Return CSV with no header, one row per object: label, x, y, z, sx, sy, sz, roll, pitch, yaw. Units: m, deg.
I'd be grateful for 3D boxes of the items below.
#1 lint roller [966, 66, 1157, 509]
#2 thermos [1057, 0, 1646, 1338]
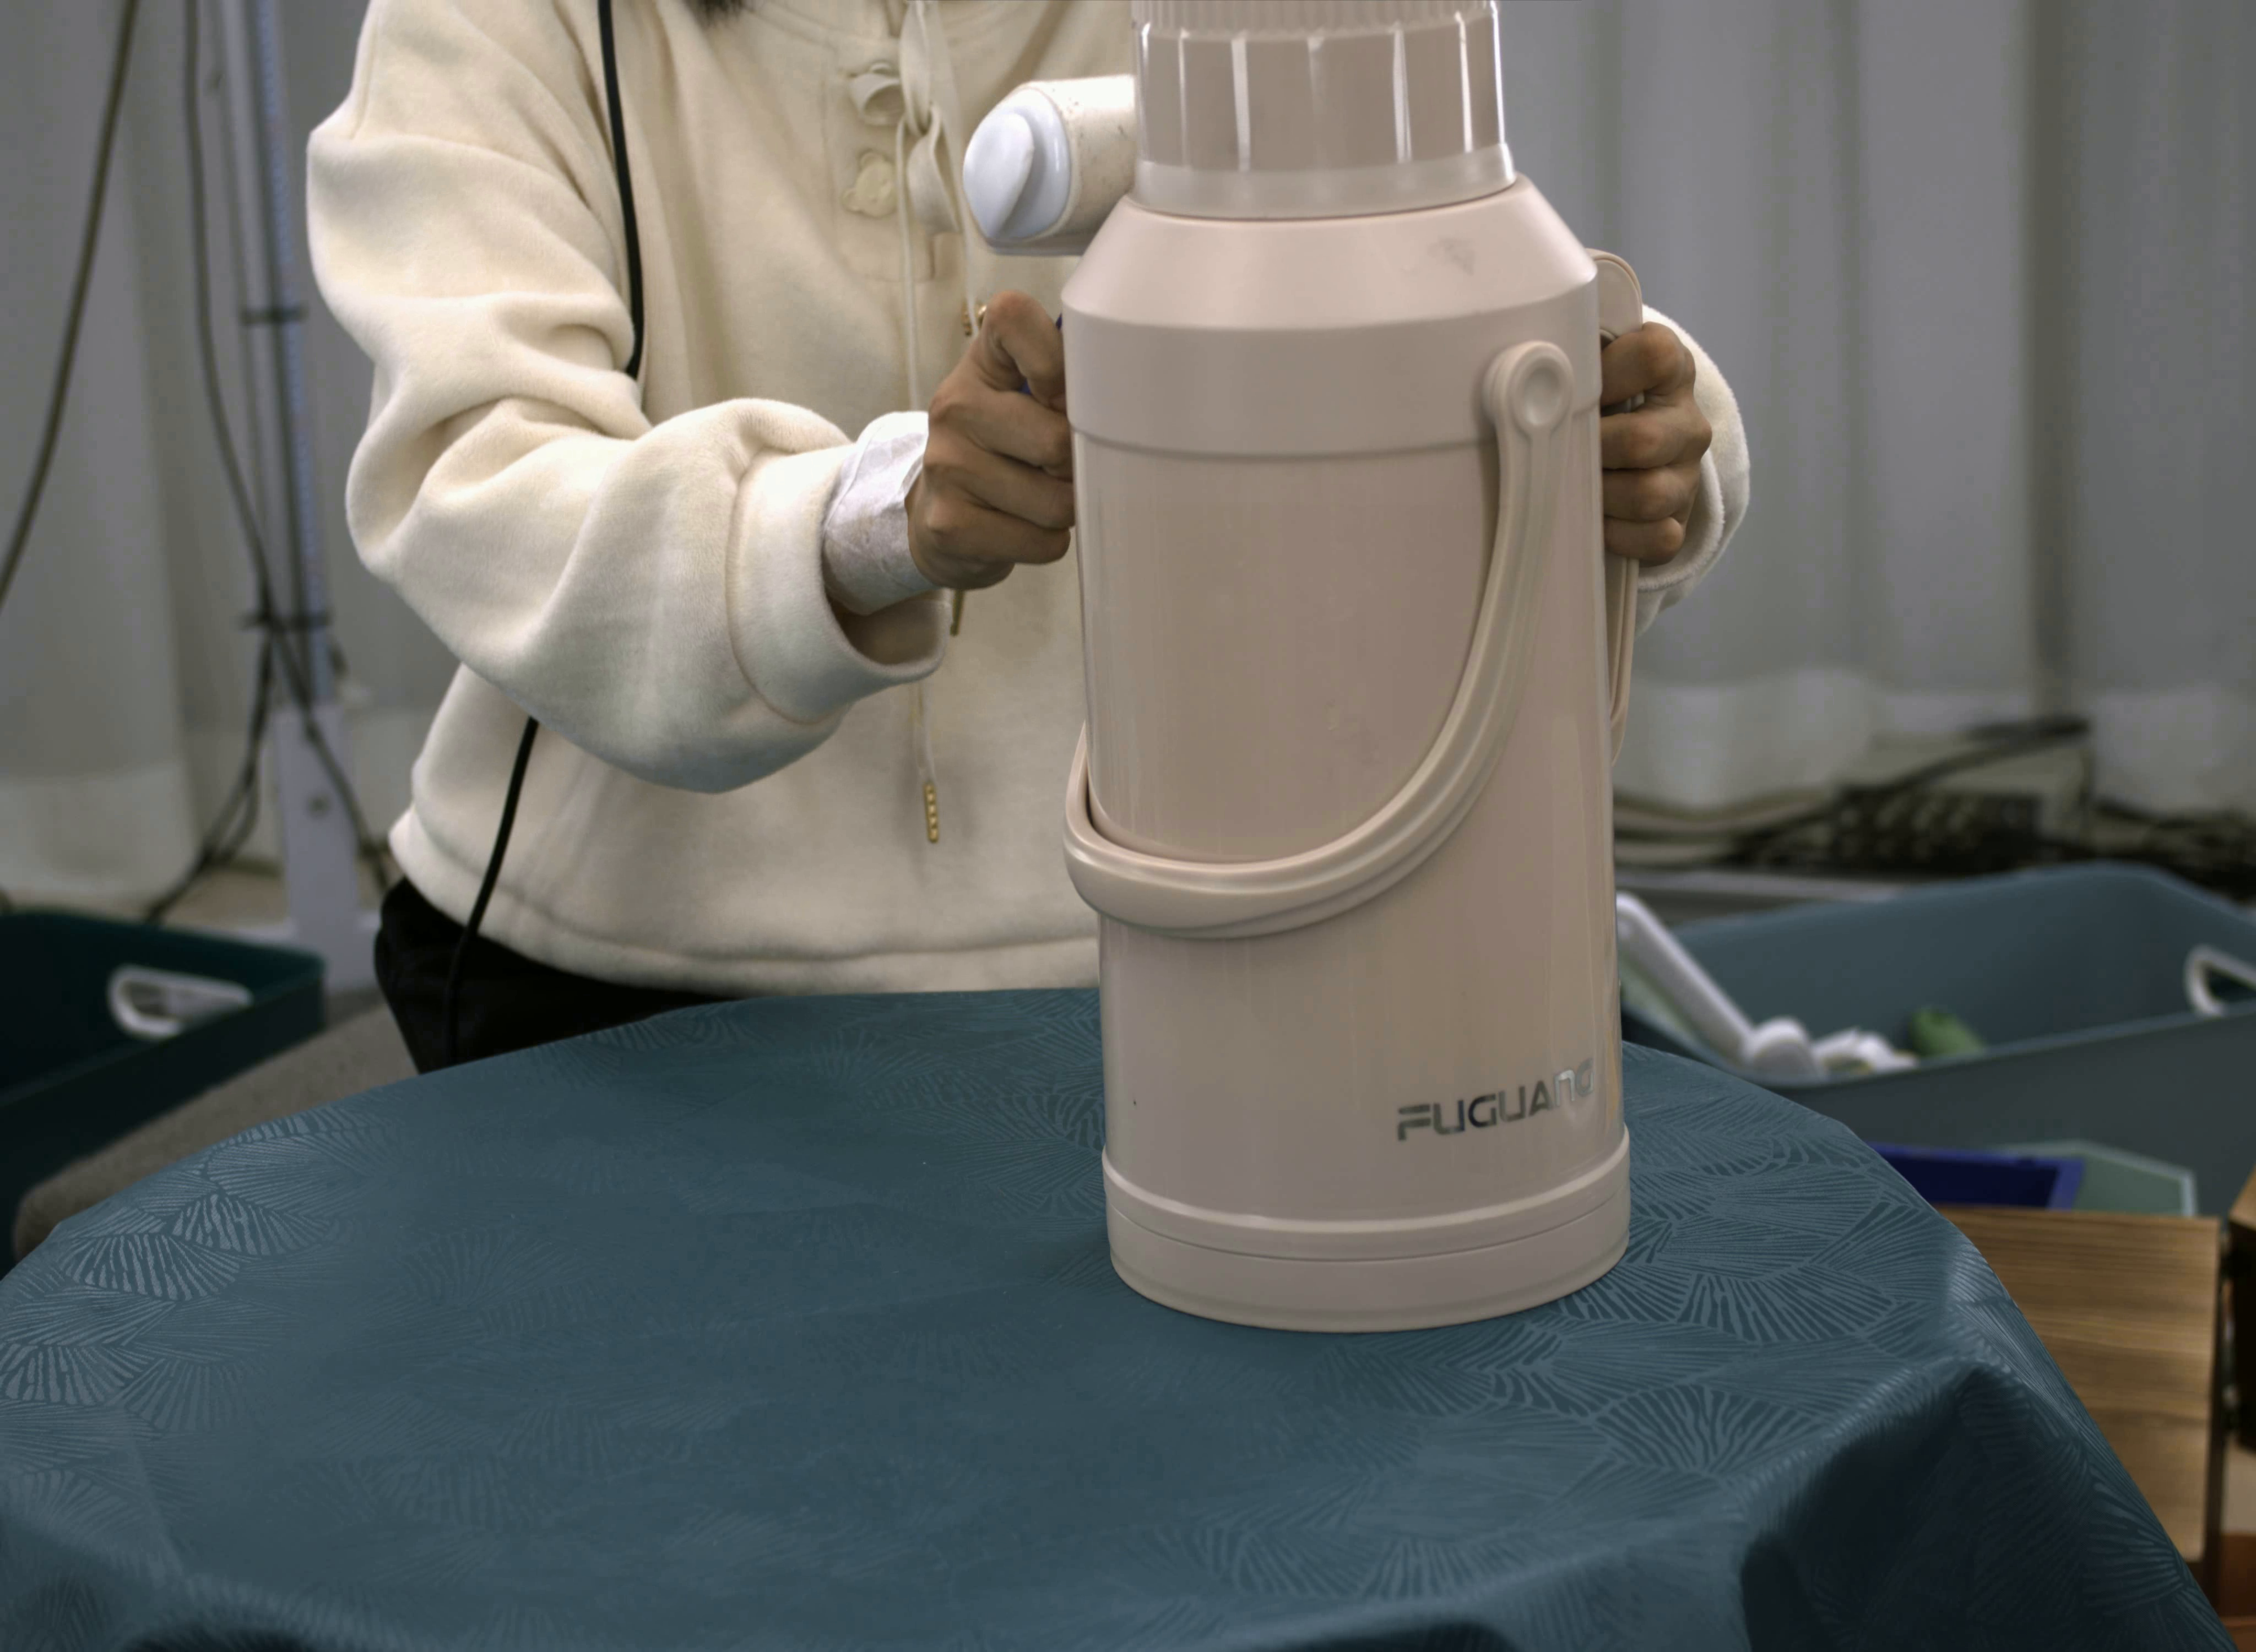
lint roller,-0.009,-0.169,1.699,0.132,0.051,0.179,-11,-28,-31
thermos,0.074,-0.067,1.616,0.206,0.405,0.176,-13,17,-38
